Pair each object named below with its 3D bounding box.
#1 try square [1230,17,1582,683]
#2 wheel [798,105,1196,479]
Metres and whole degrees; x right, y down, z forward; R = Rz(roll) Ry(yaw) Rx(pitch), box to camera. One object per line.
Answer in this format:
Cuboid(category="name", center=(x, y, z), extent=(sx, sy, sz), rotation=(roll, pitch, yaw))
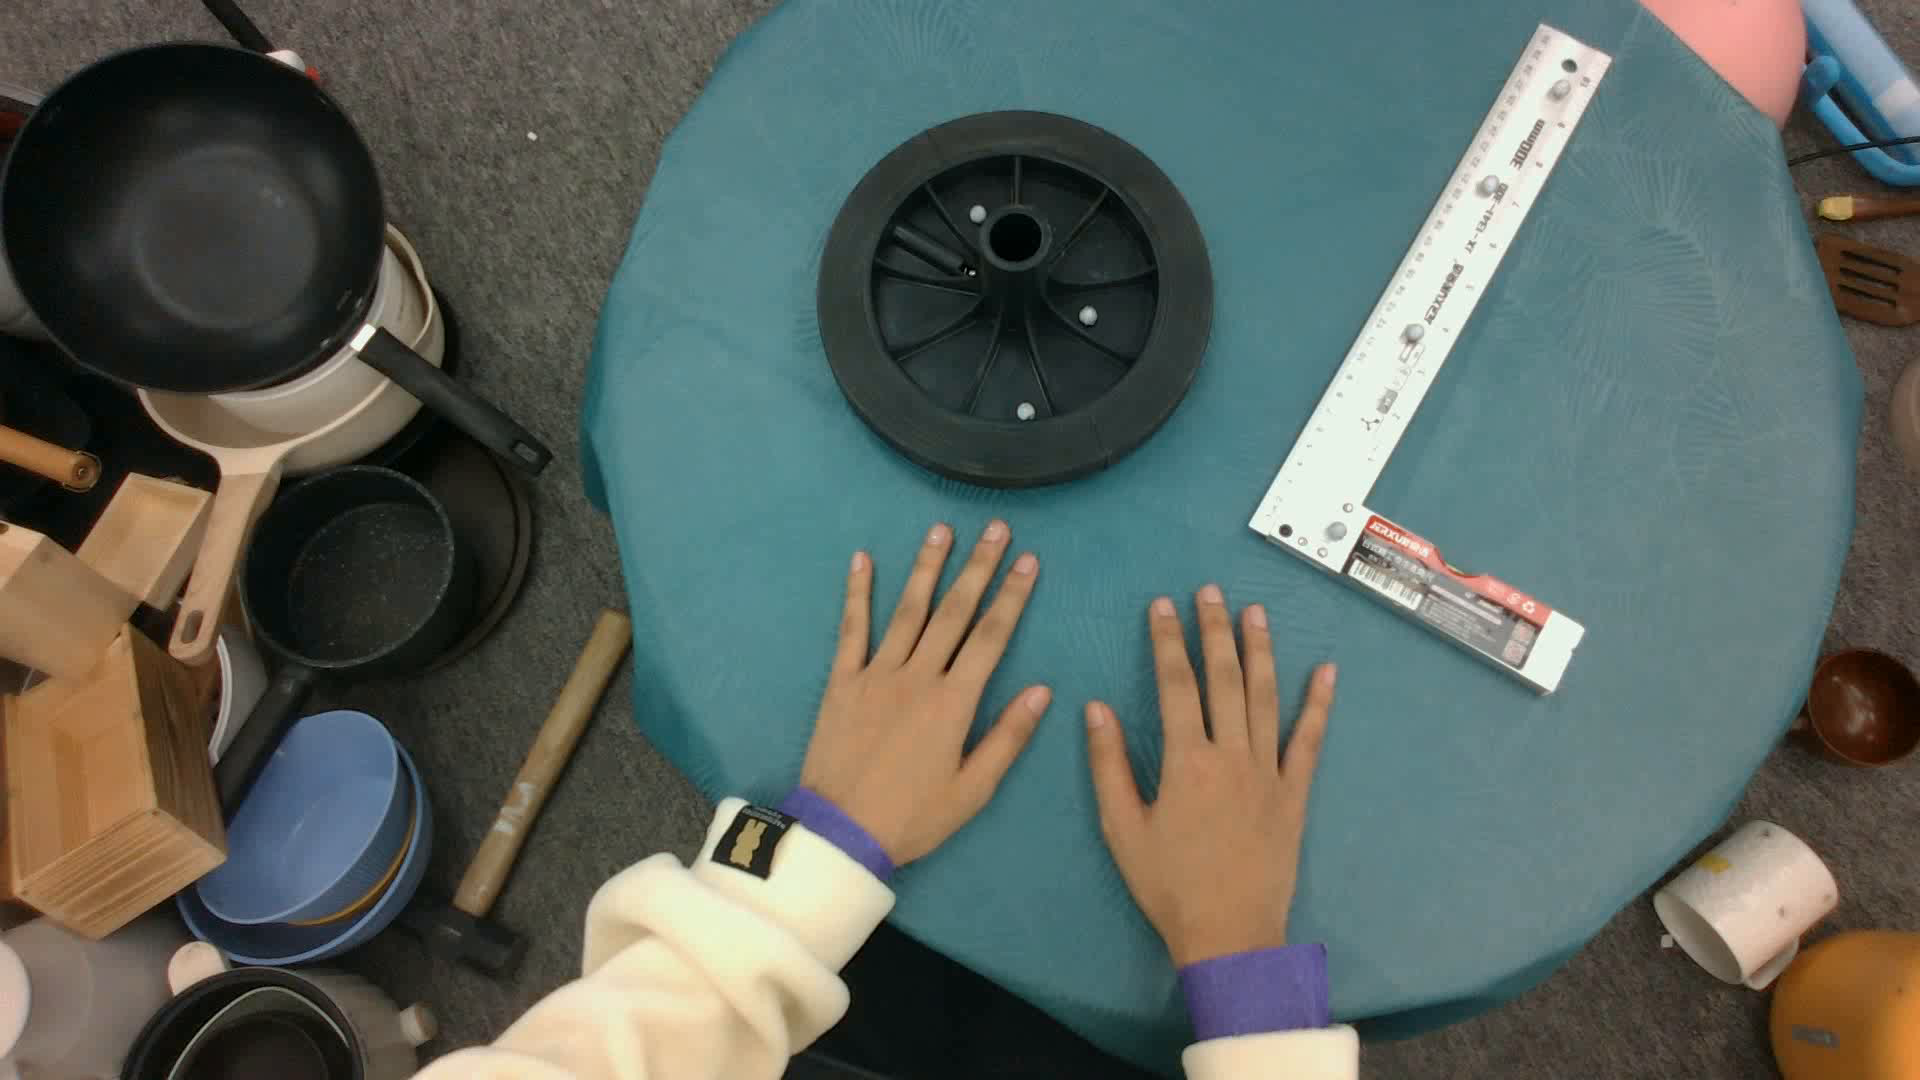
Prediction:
Cuboid(category="try square", center=(0.268, -0.101, 0.667), extent=(0.152, 0.016, 0.313), rotation=(31, 77, 4))
Cuboid(category="wheel", center=(0.017, -0.126, 0.638), extent=(0.190, 0.079, 0.188), rotation=(9, 76, 3))
